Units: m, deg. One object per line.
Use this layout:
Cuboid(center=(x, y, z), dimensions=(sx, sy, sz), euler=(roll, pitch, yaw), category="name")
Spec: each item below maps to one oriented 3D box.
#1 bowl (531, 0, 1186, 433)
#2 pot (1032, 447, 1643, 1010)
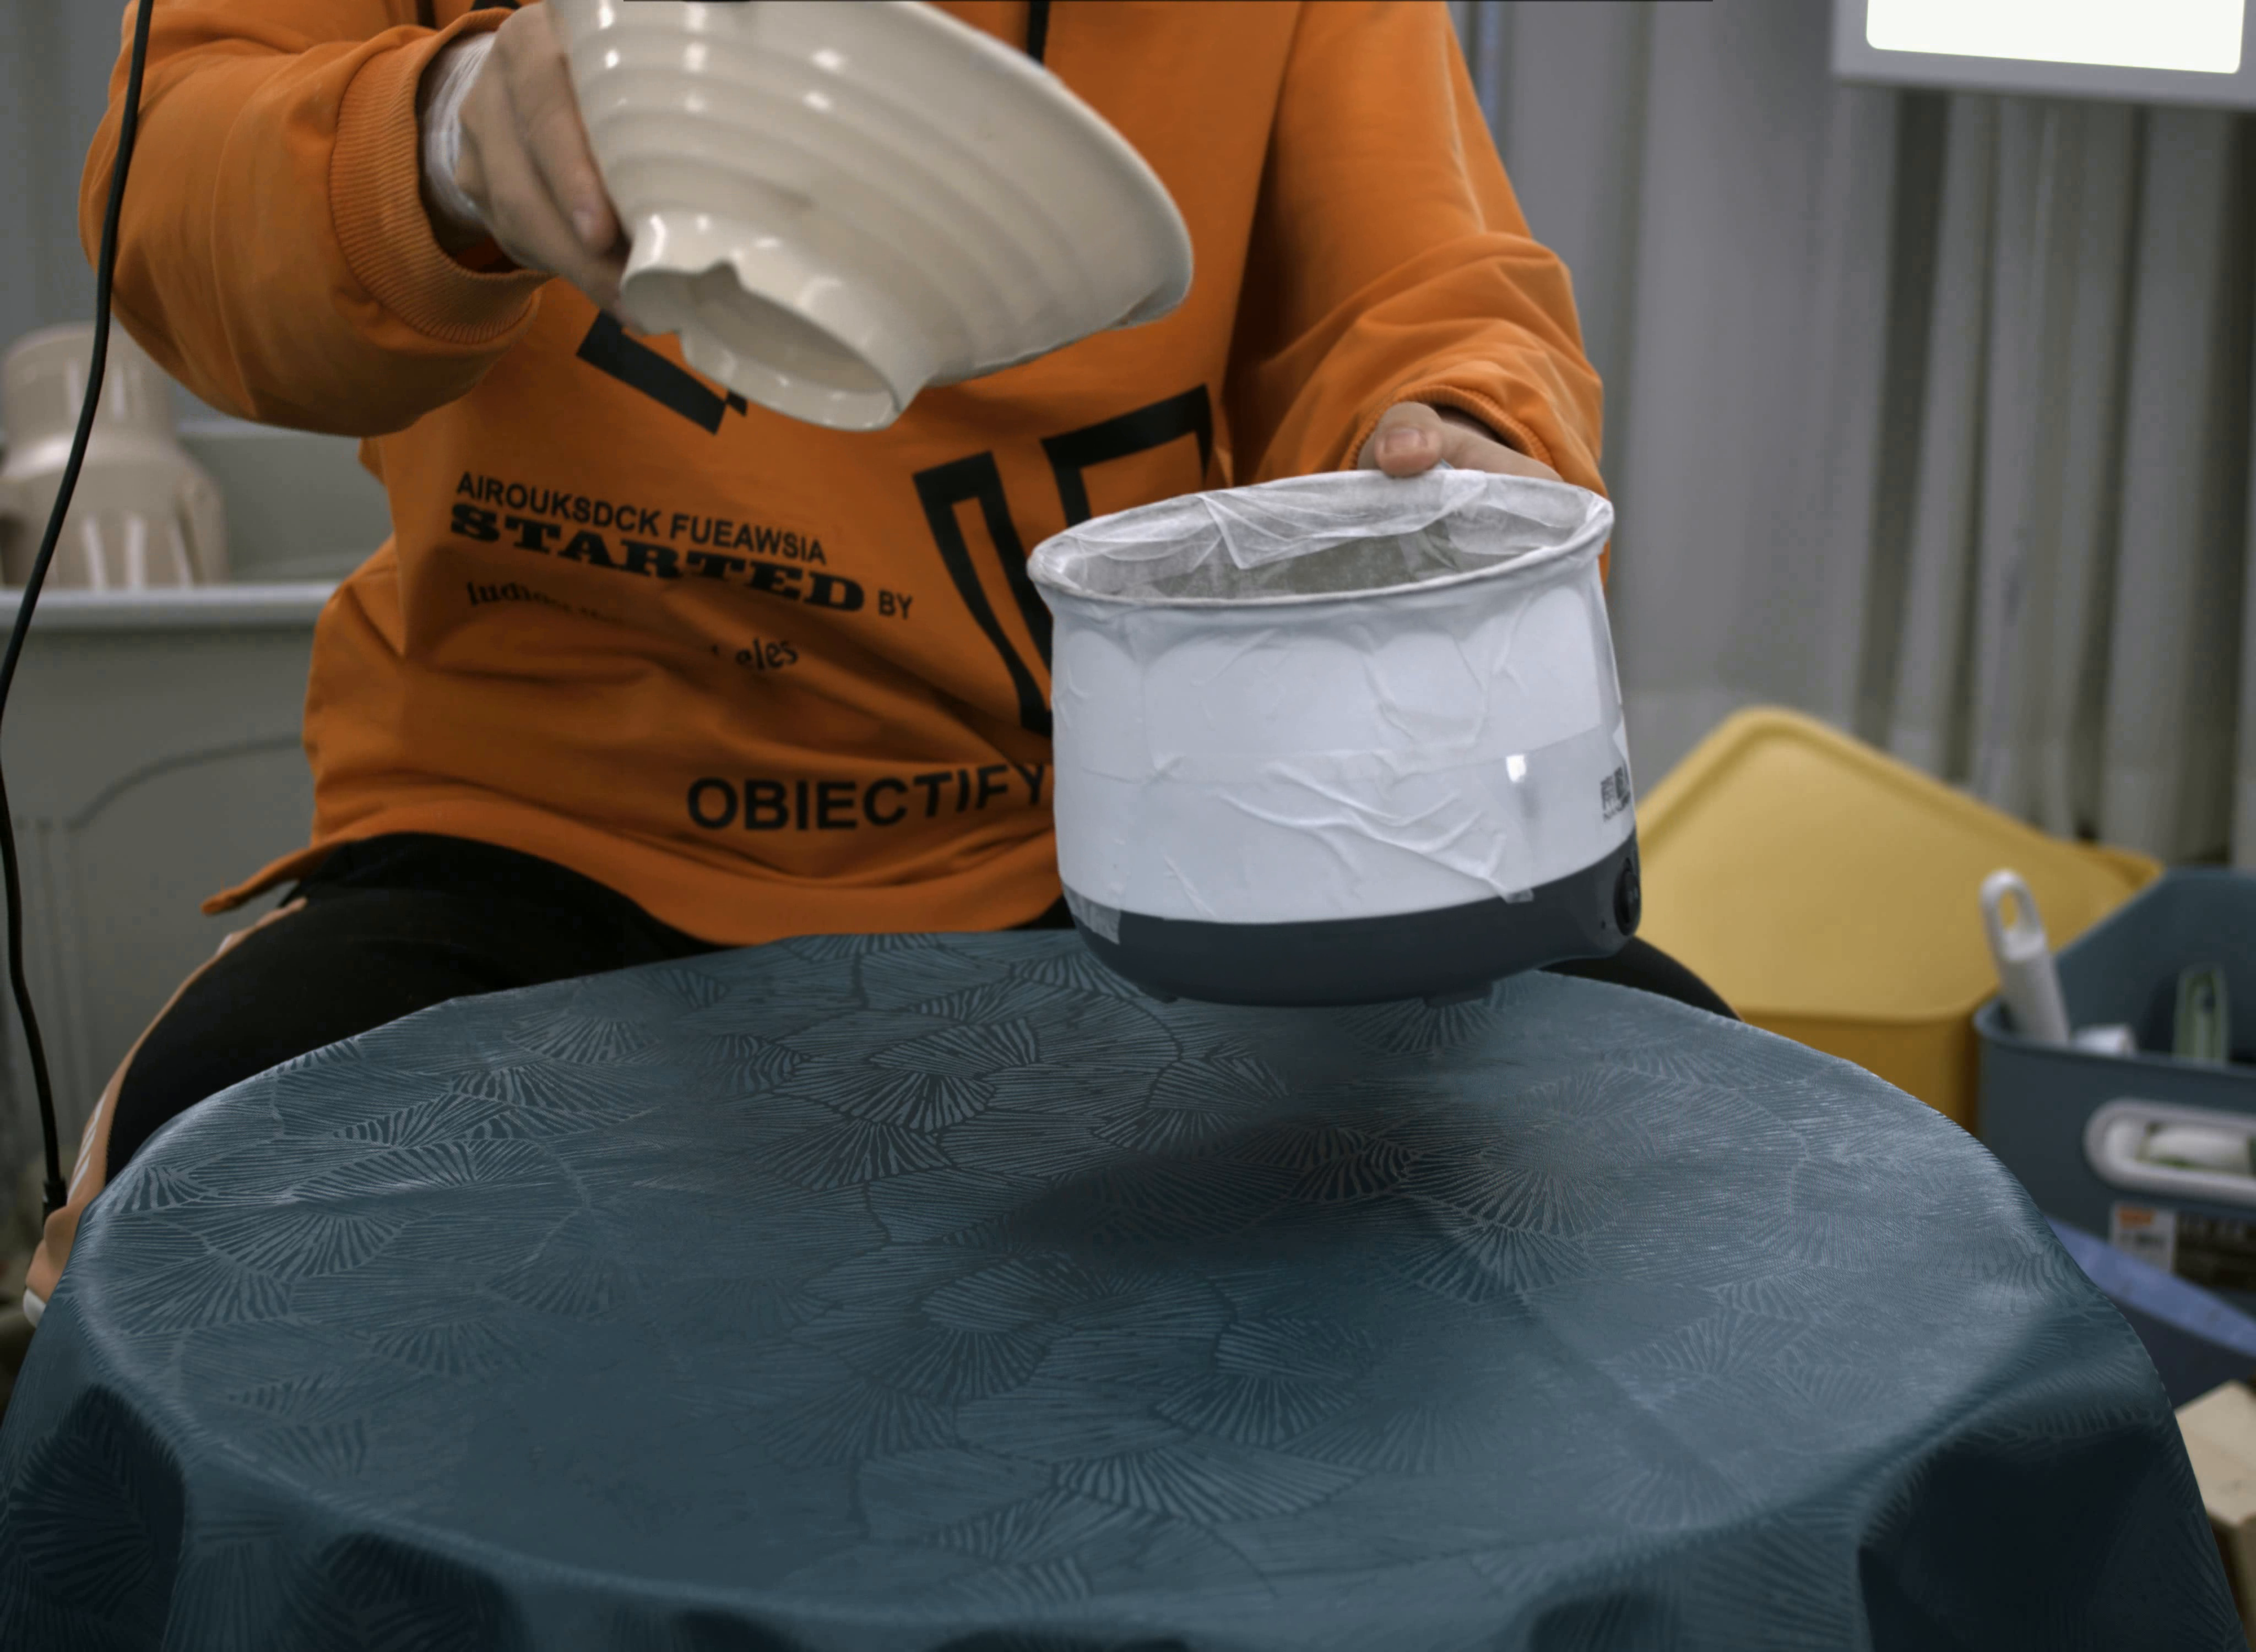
Cuboid(center=(-0.090, -0.167, 1.483), dimensions=(0.203, 0.078, 0.205), euler=(21, -18, 8), category="bowl")
Cuboid(center=(0.074, -0.034, 1.618), dimensions=(0.177, 0.138, 0.234), euler=(0, 16, 19), category="pot")
